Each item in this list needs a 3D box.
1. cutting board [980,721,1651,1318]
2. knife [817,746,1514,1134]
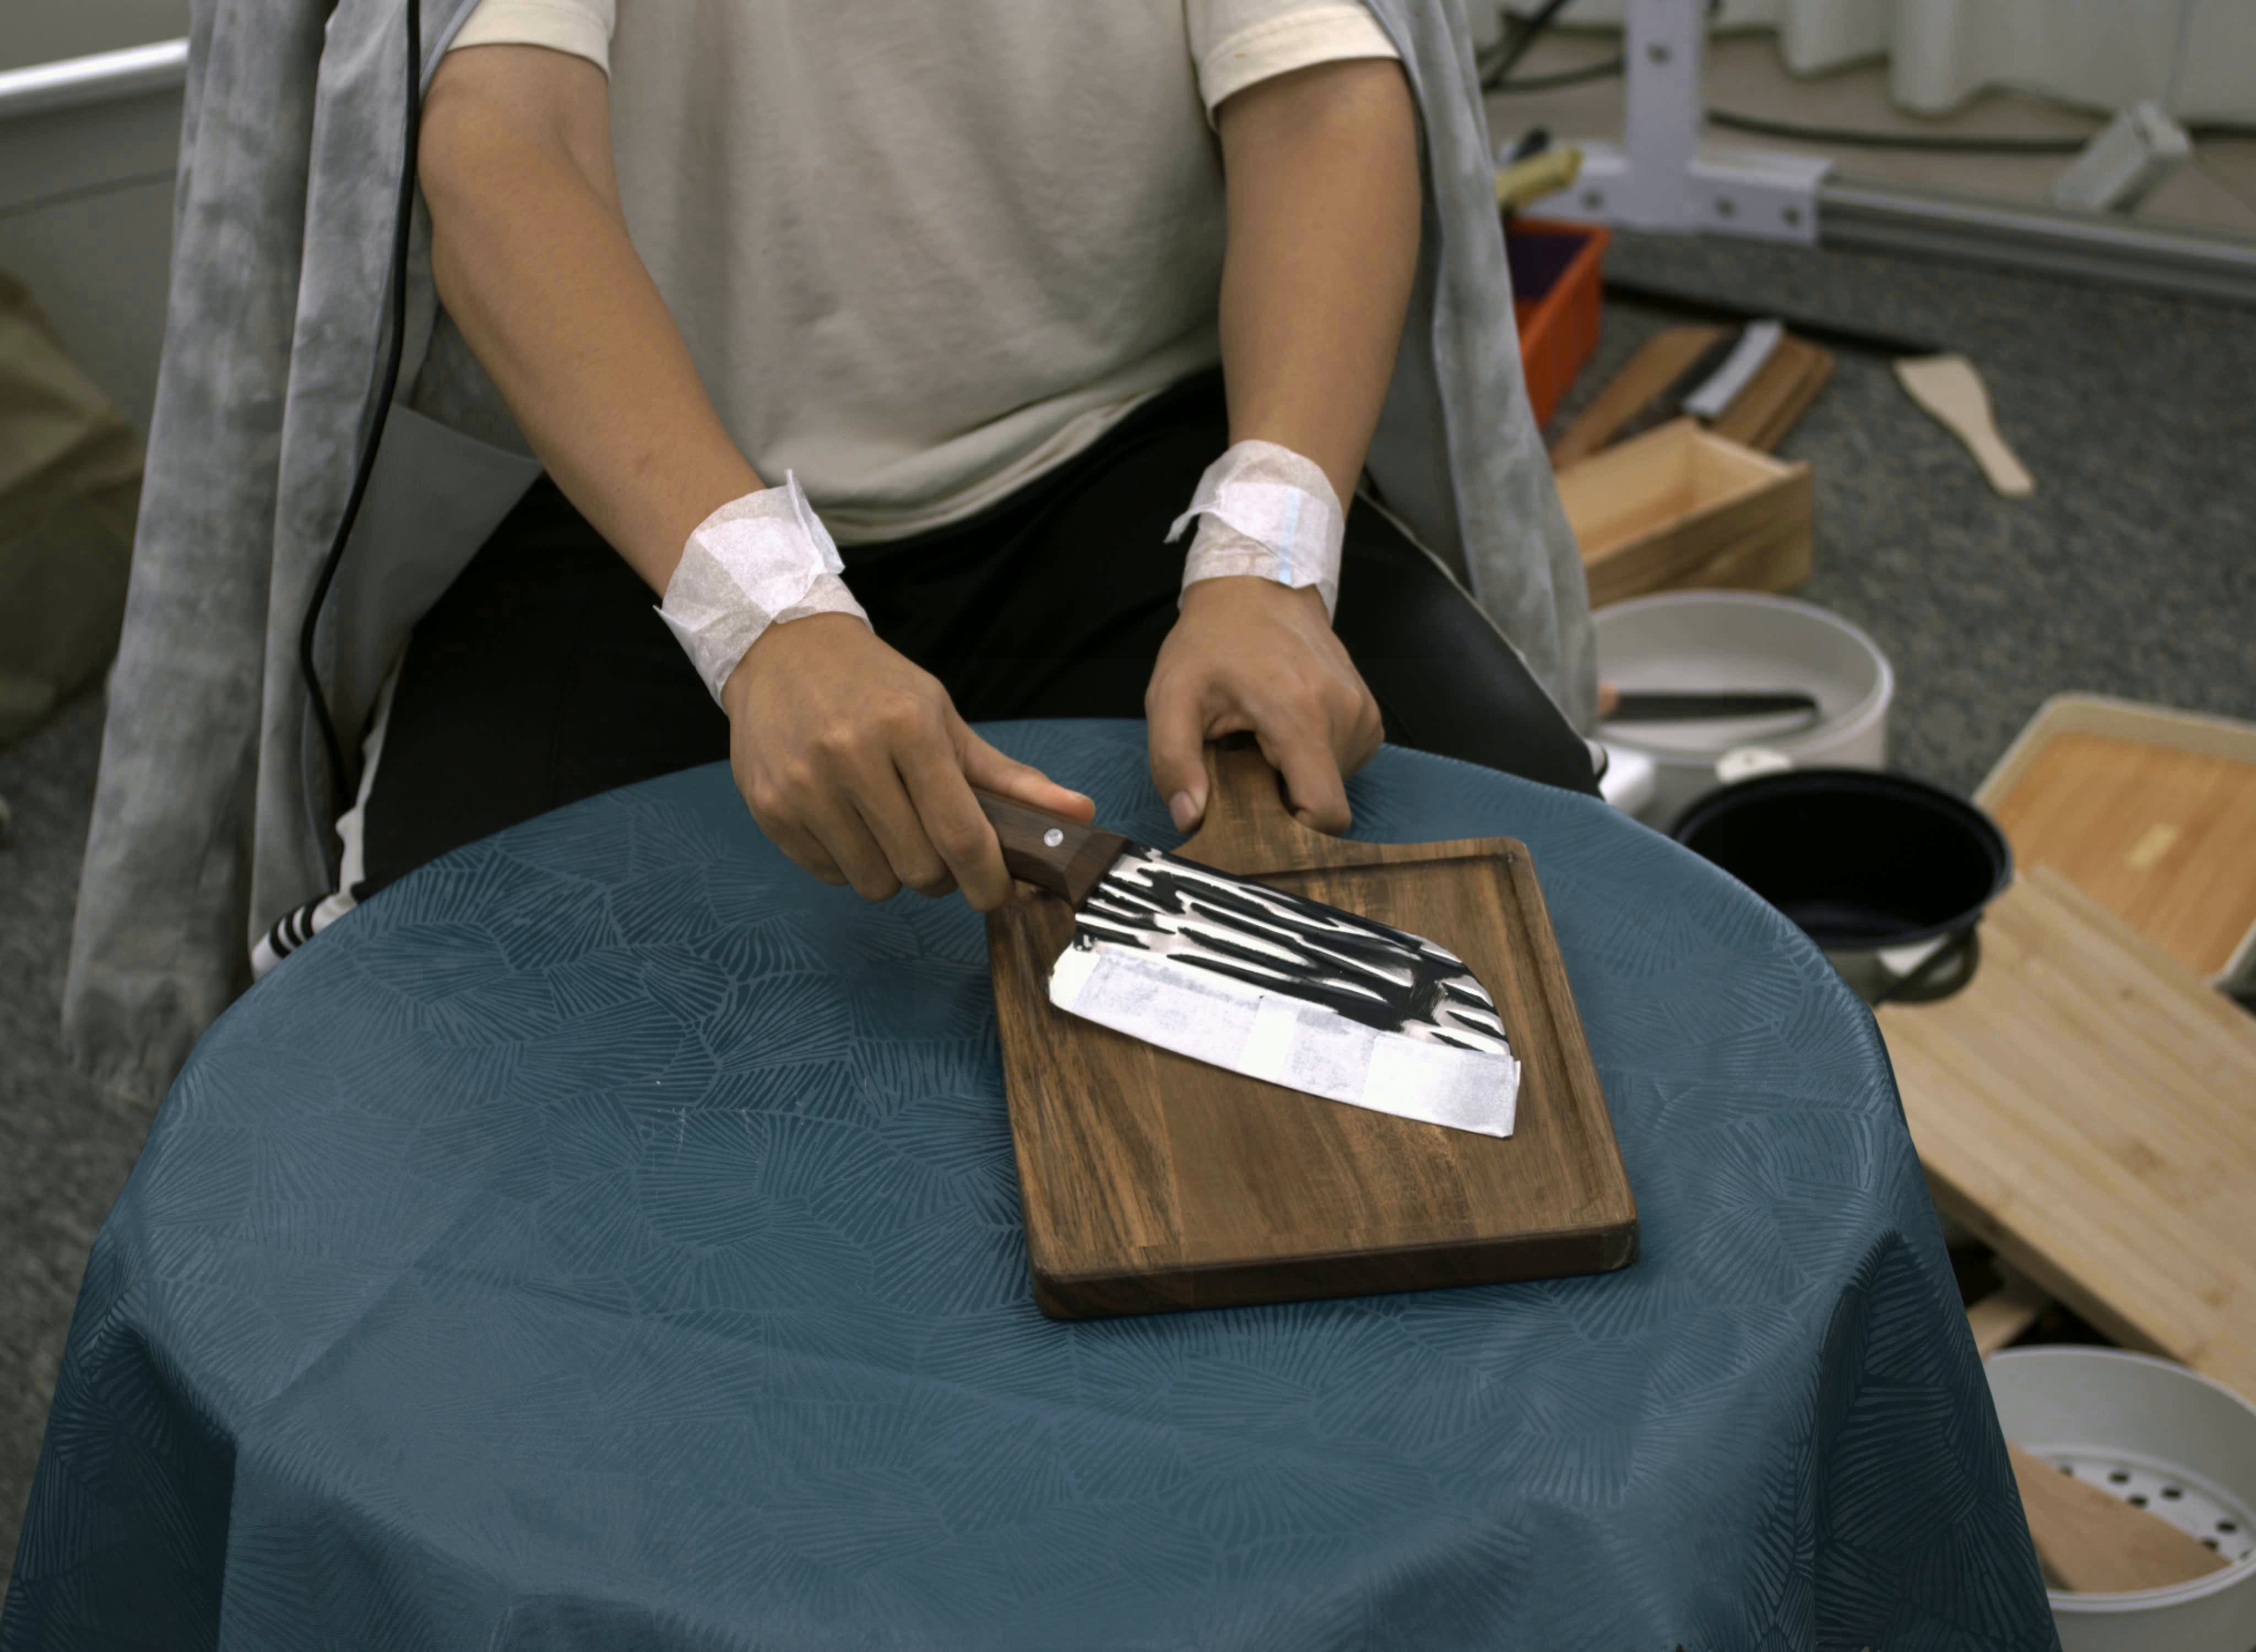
[{"bbox_3d":[0.053,0.055,1.943,0.200,0.023,0.357,-5,29,-4],"label":"cutting board"},{"bbox_3d":[0.007,0.039,1.919,0.298,0.024,0.069,19,68,26],"label":"knife"}]
